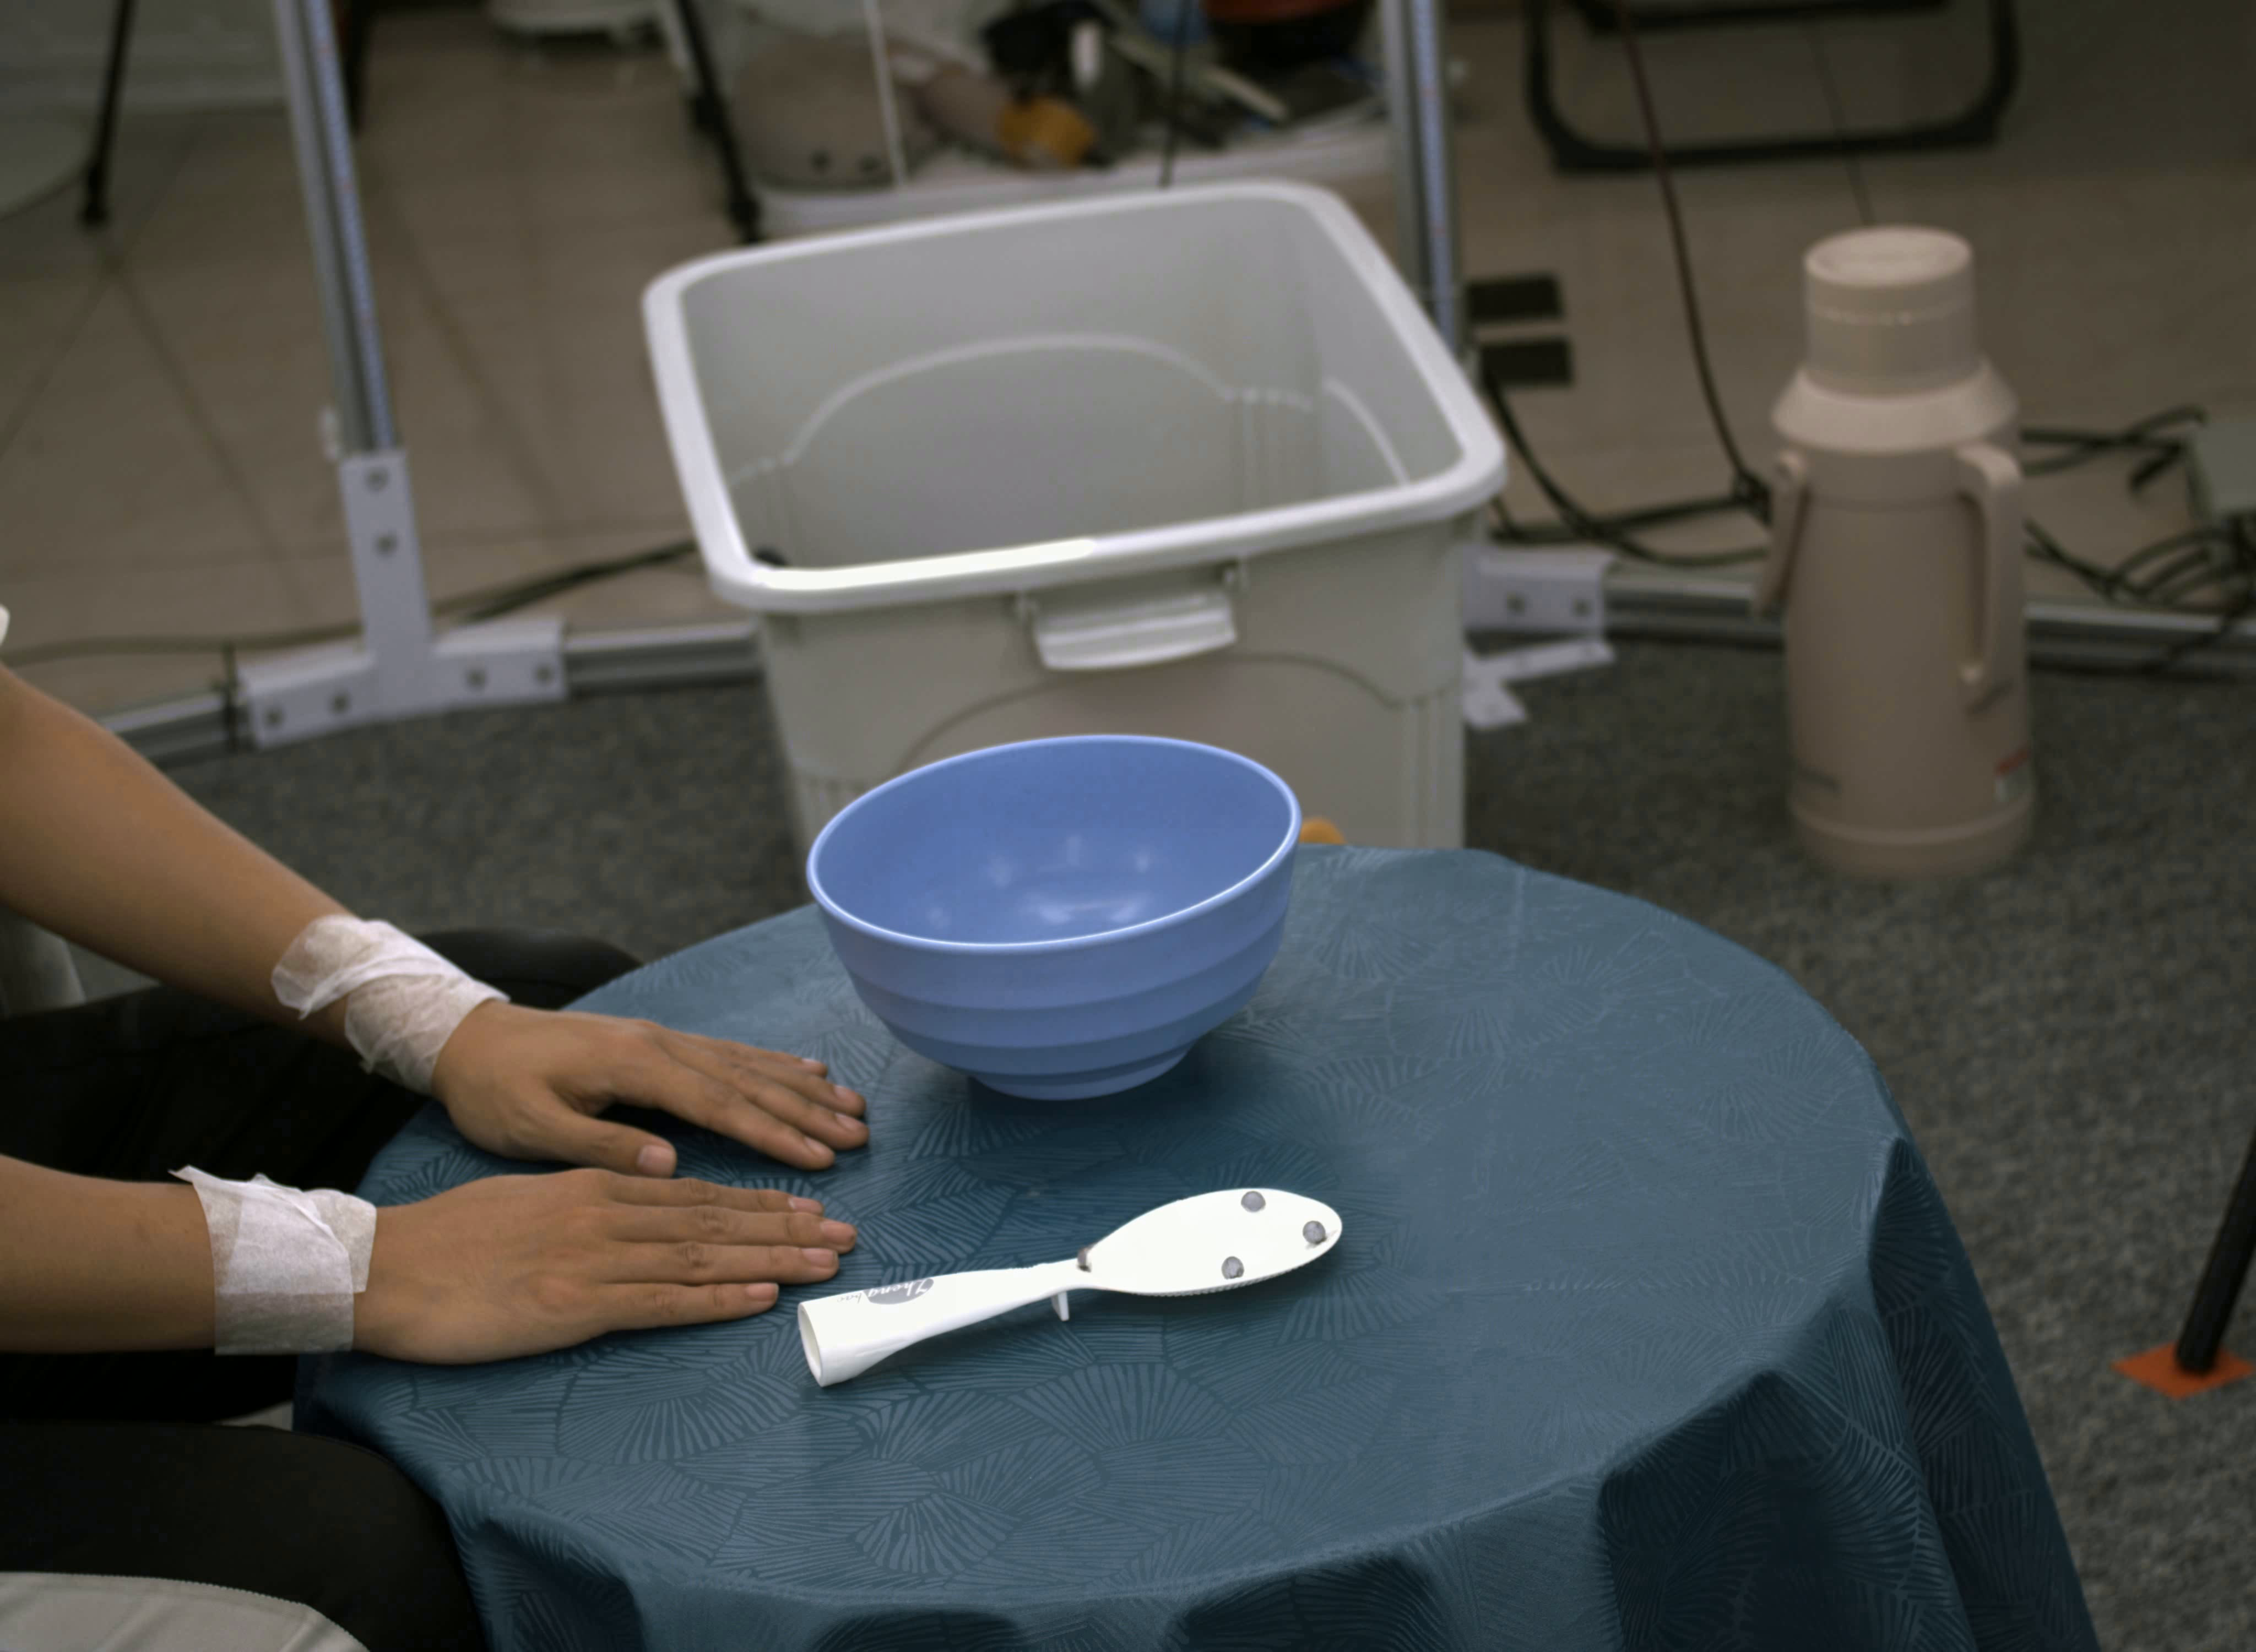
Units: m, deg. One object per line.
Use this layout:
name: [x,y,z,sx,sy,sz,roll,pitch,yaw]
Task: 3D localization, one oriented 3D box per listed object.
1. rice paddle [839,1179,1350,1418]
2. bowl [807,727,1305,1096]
rice paddle: [-0.009,0.164,2.074,0.204,0.030,0.068,-21,16,-21]
bowl: [-0.025,0.044,2.243,0.196,0.097,0.193,-4,26,2]
